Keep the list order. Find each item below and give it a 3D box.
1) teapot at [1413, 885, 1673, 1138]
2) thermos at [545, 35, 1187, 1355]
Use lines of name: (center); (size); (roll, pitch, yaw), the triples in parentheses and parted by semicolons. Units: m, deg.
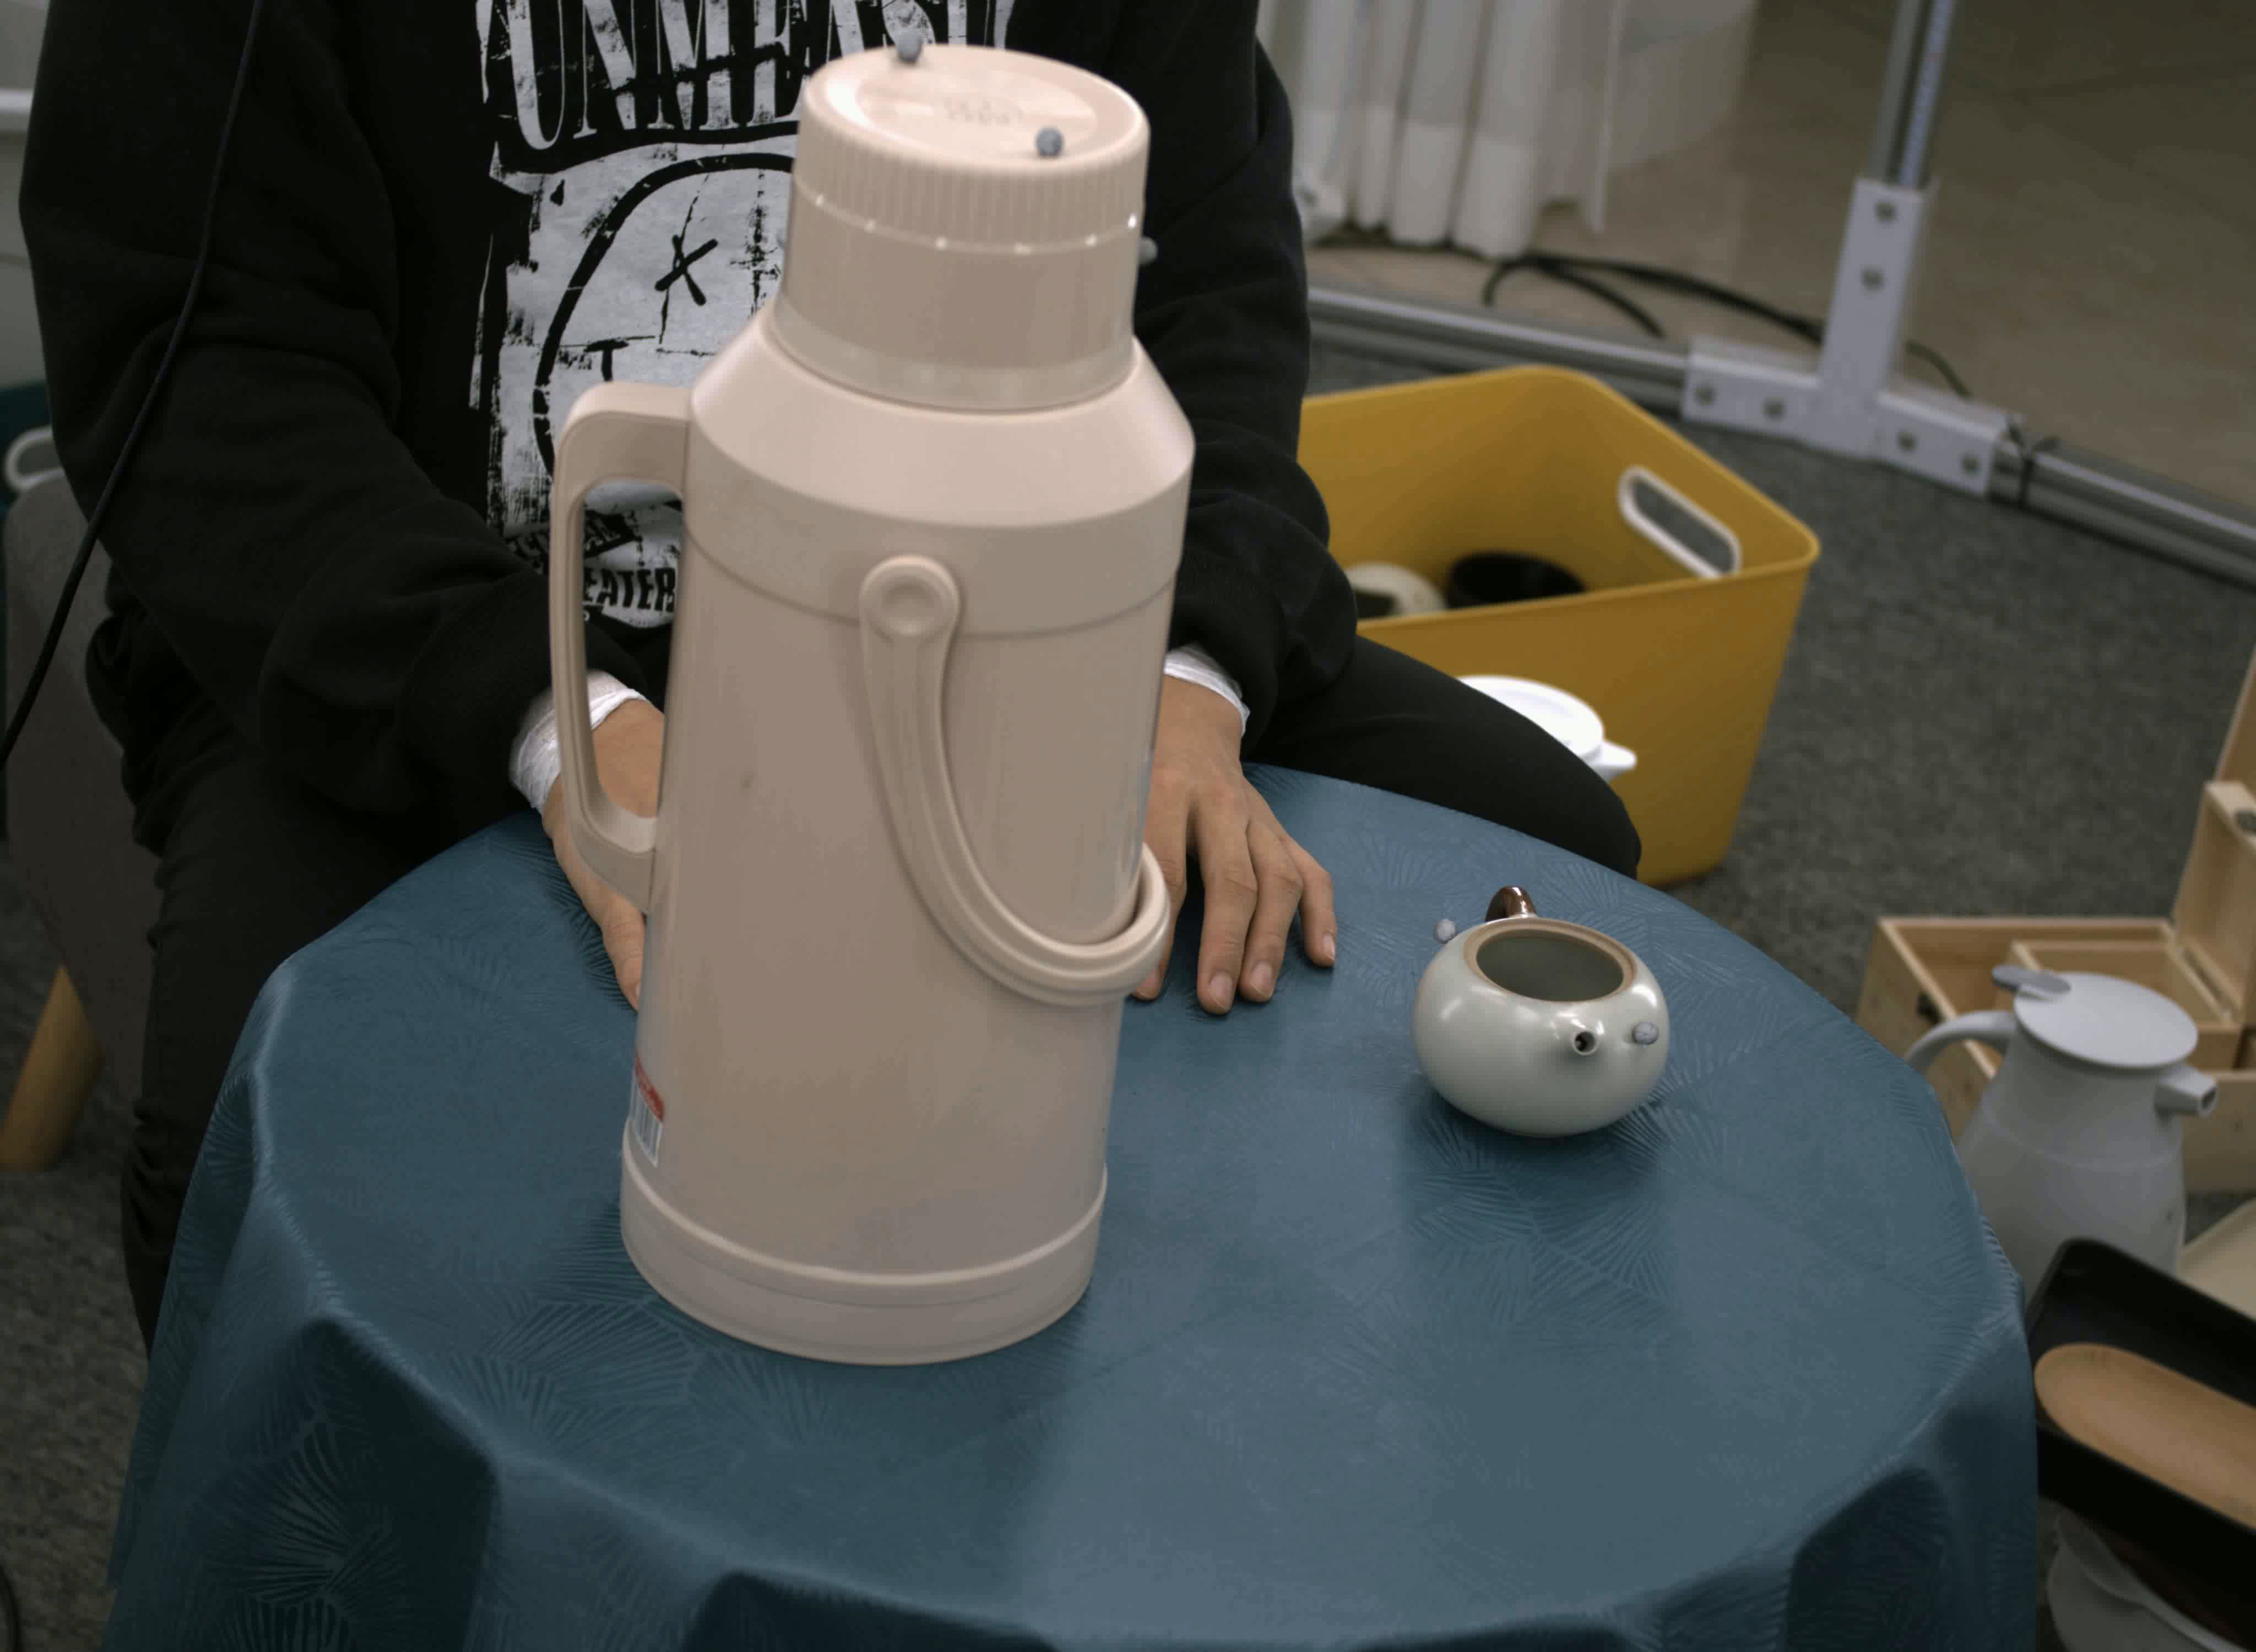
teapot: (0.144, 0.067, 1.884); (0.091, 0.059, 0.129); (-3, 29, -11)
thermos: (-0.084, -0.043, 1.678); (0.206, 0.405, 0.176); (7, 28, -1)
